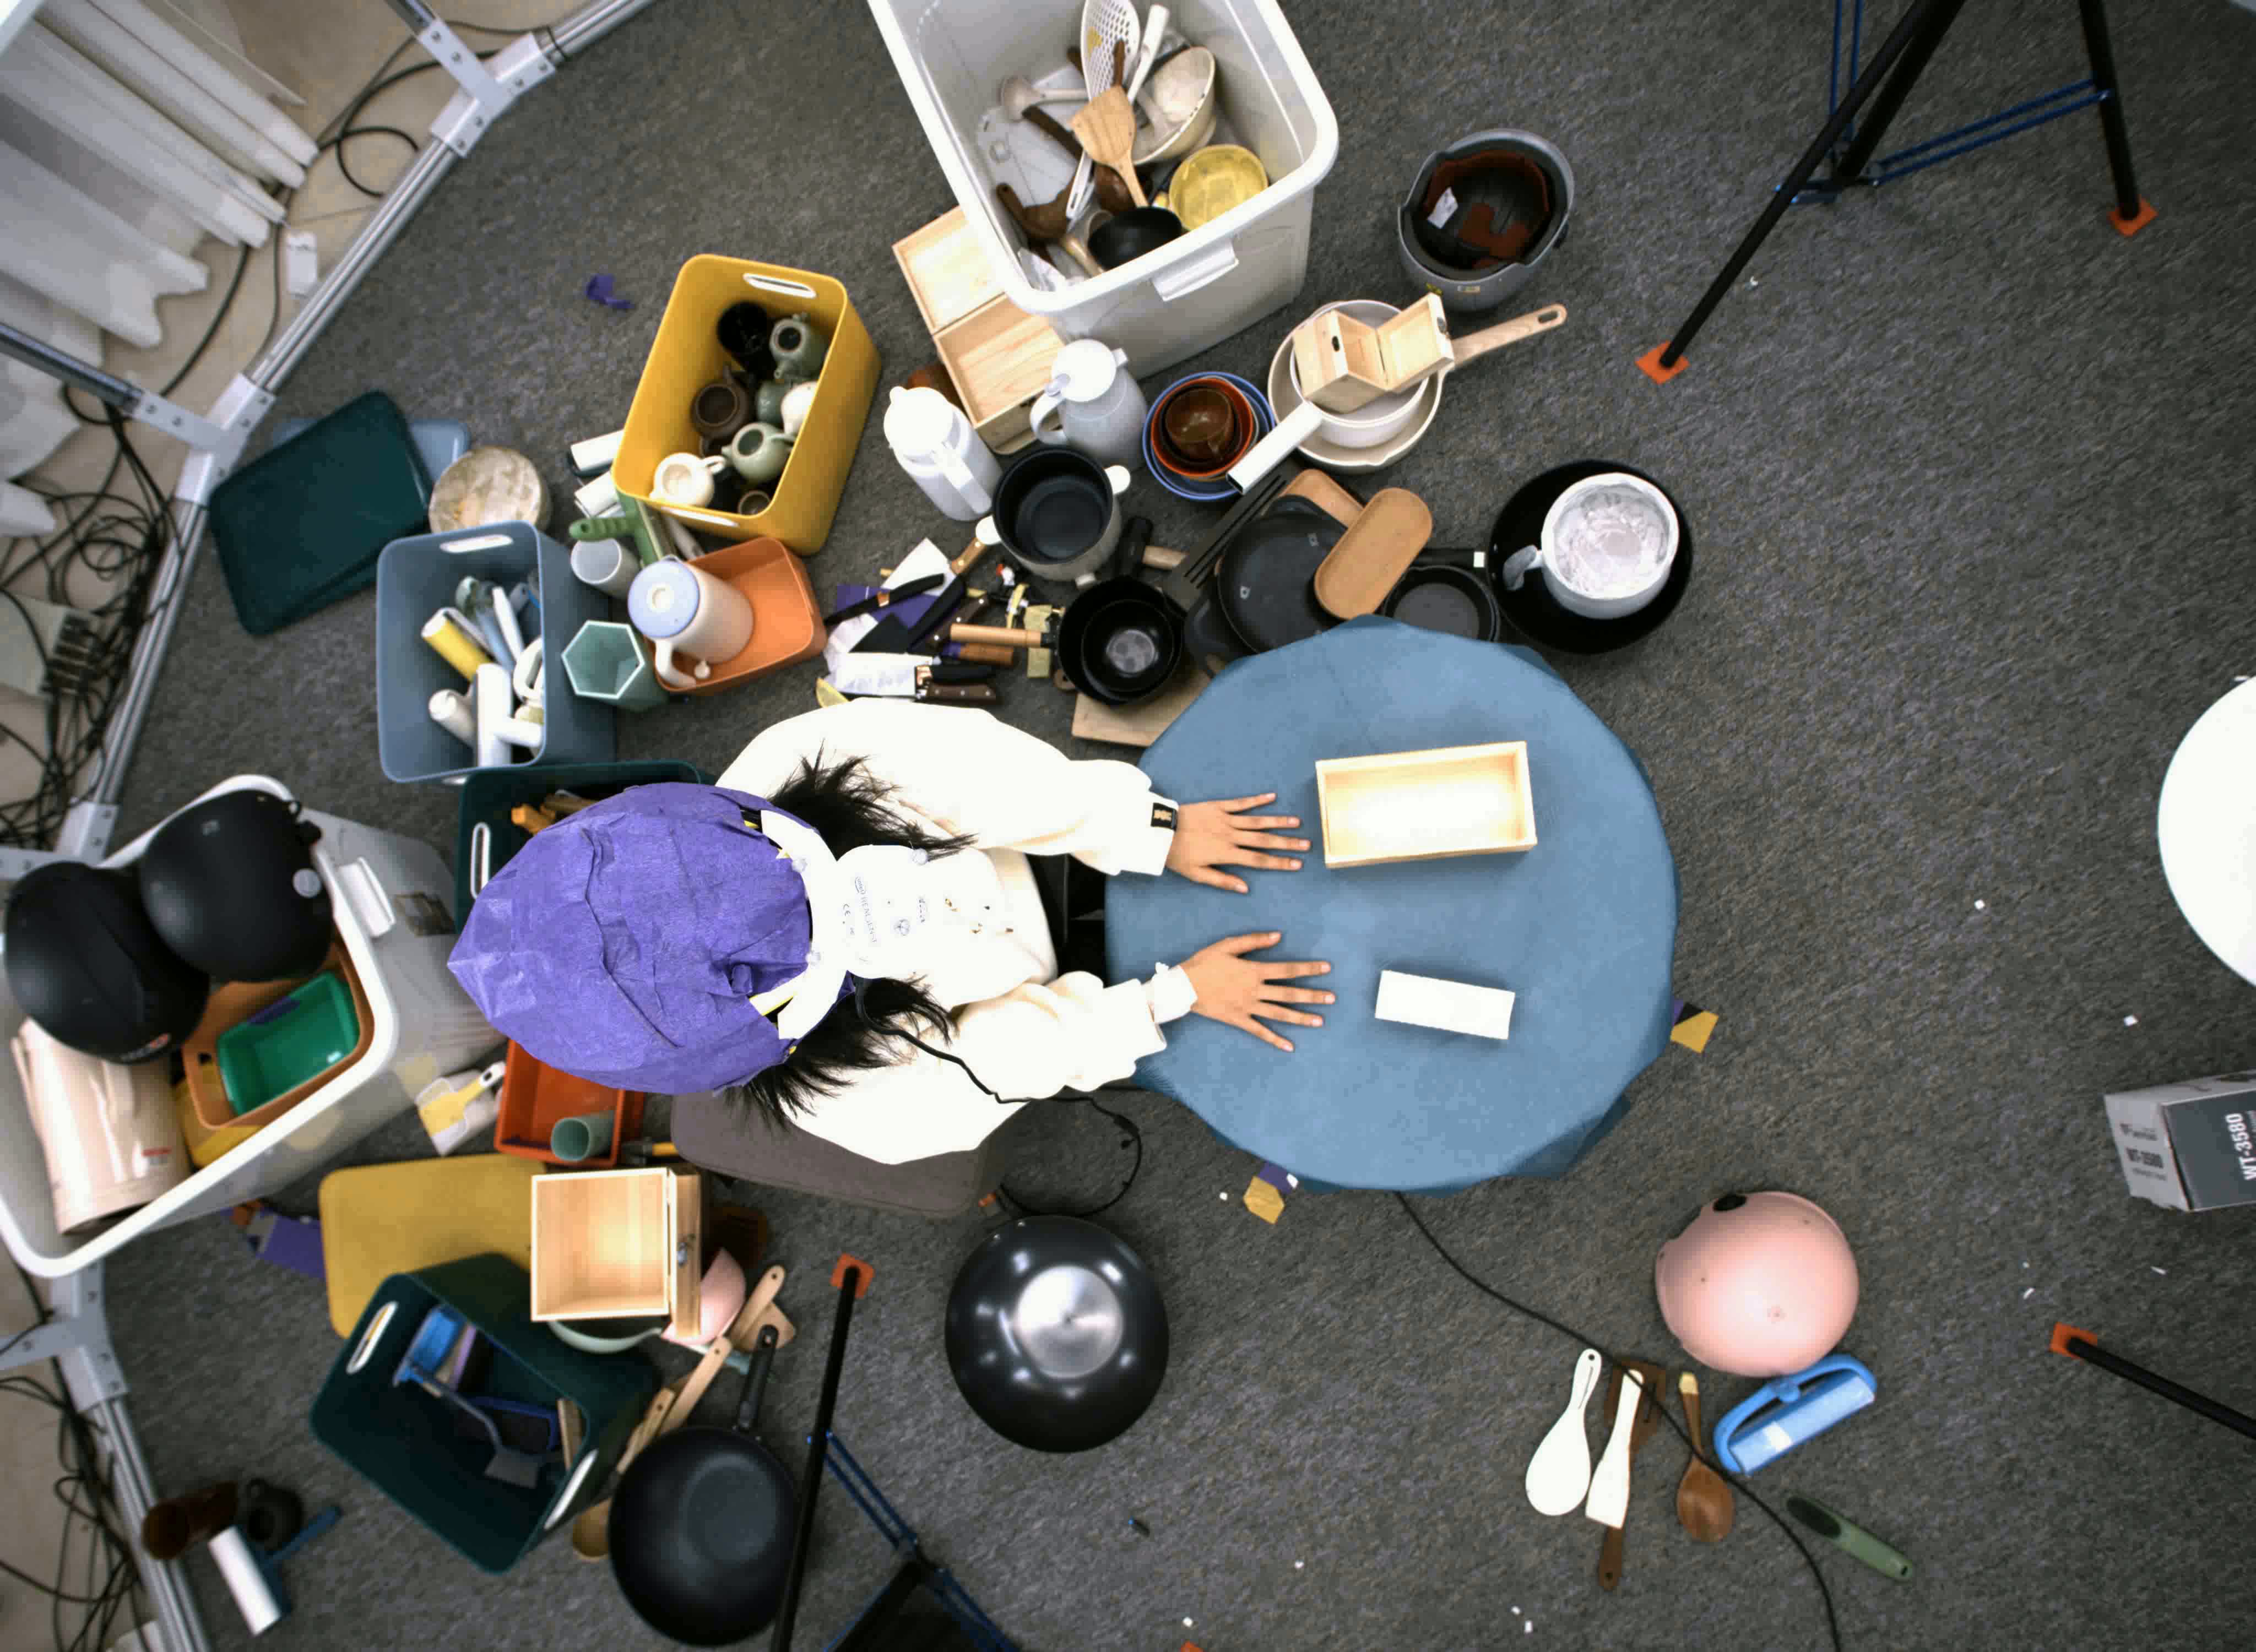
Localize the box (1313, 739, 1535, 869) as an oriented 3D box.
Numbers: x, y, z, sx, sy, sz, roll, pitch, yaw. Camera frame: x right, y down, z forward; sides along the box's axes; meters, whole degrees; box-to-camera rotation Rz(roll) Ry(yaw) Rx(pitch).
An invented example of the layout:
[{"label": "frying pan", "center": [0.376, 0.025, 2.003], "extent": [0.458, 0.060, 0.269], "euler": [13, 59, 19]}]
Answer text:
[{"label": "box", "center": [0.303, -0.022, 1.419], "extent": [0.212, 0.080, 0.107], "euler": [-6, 84, 9]}]

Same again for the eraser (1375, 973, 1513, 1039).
[{"label": "eraser", "center": [0.324, 0.183, 1.420], "extent": [0.134, 0.046, 0.049], "euler": [6, 89, 9]}]
